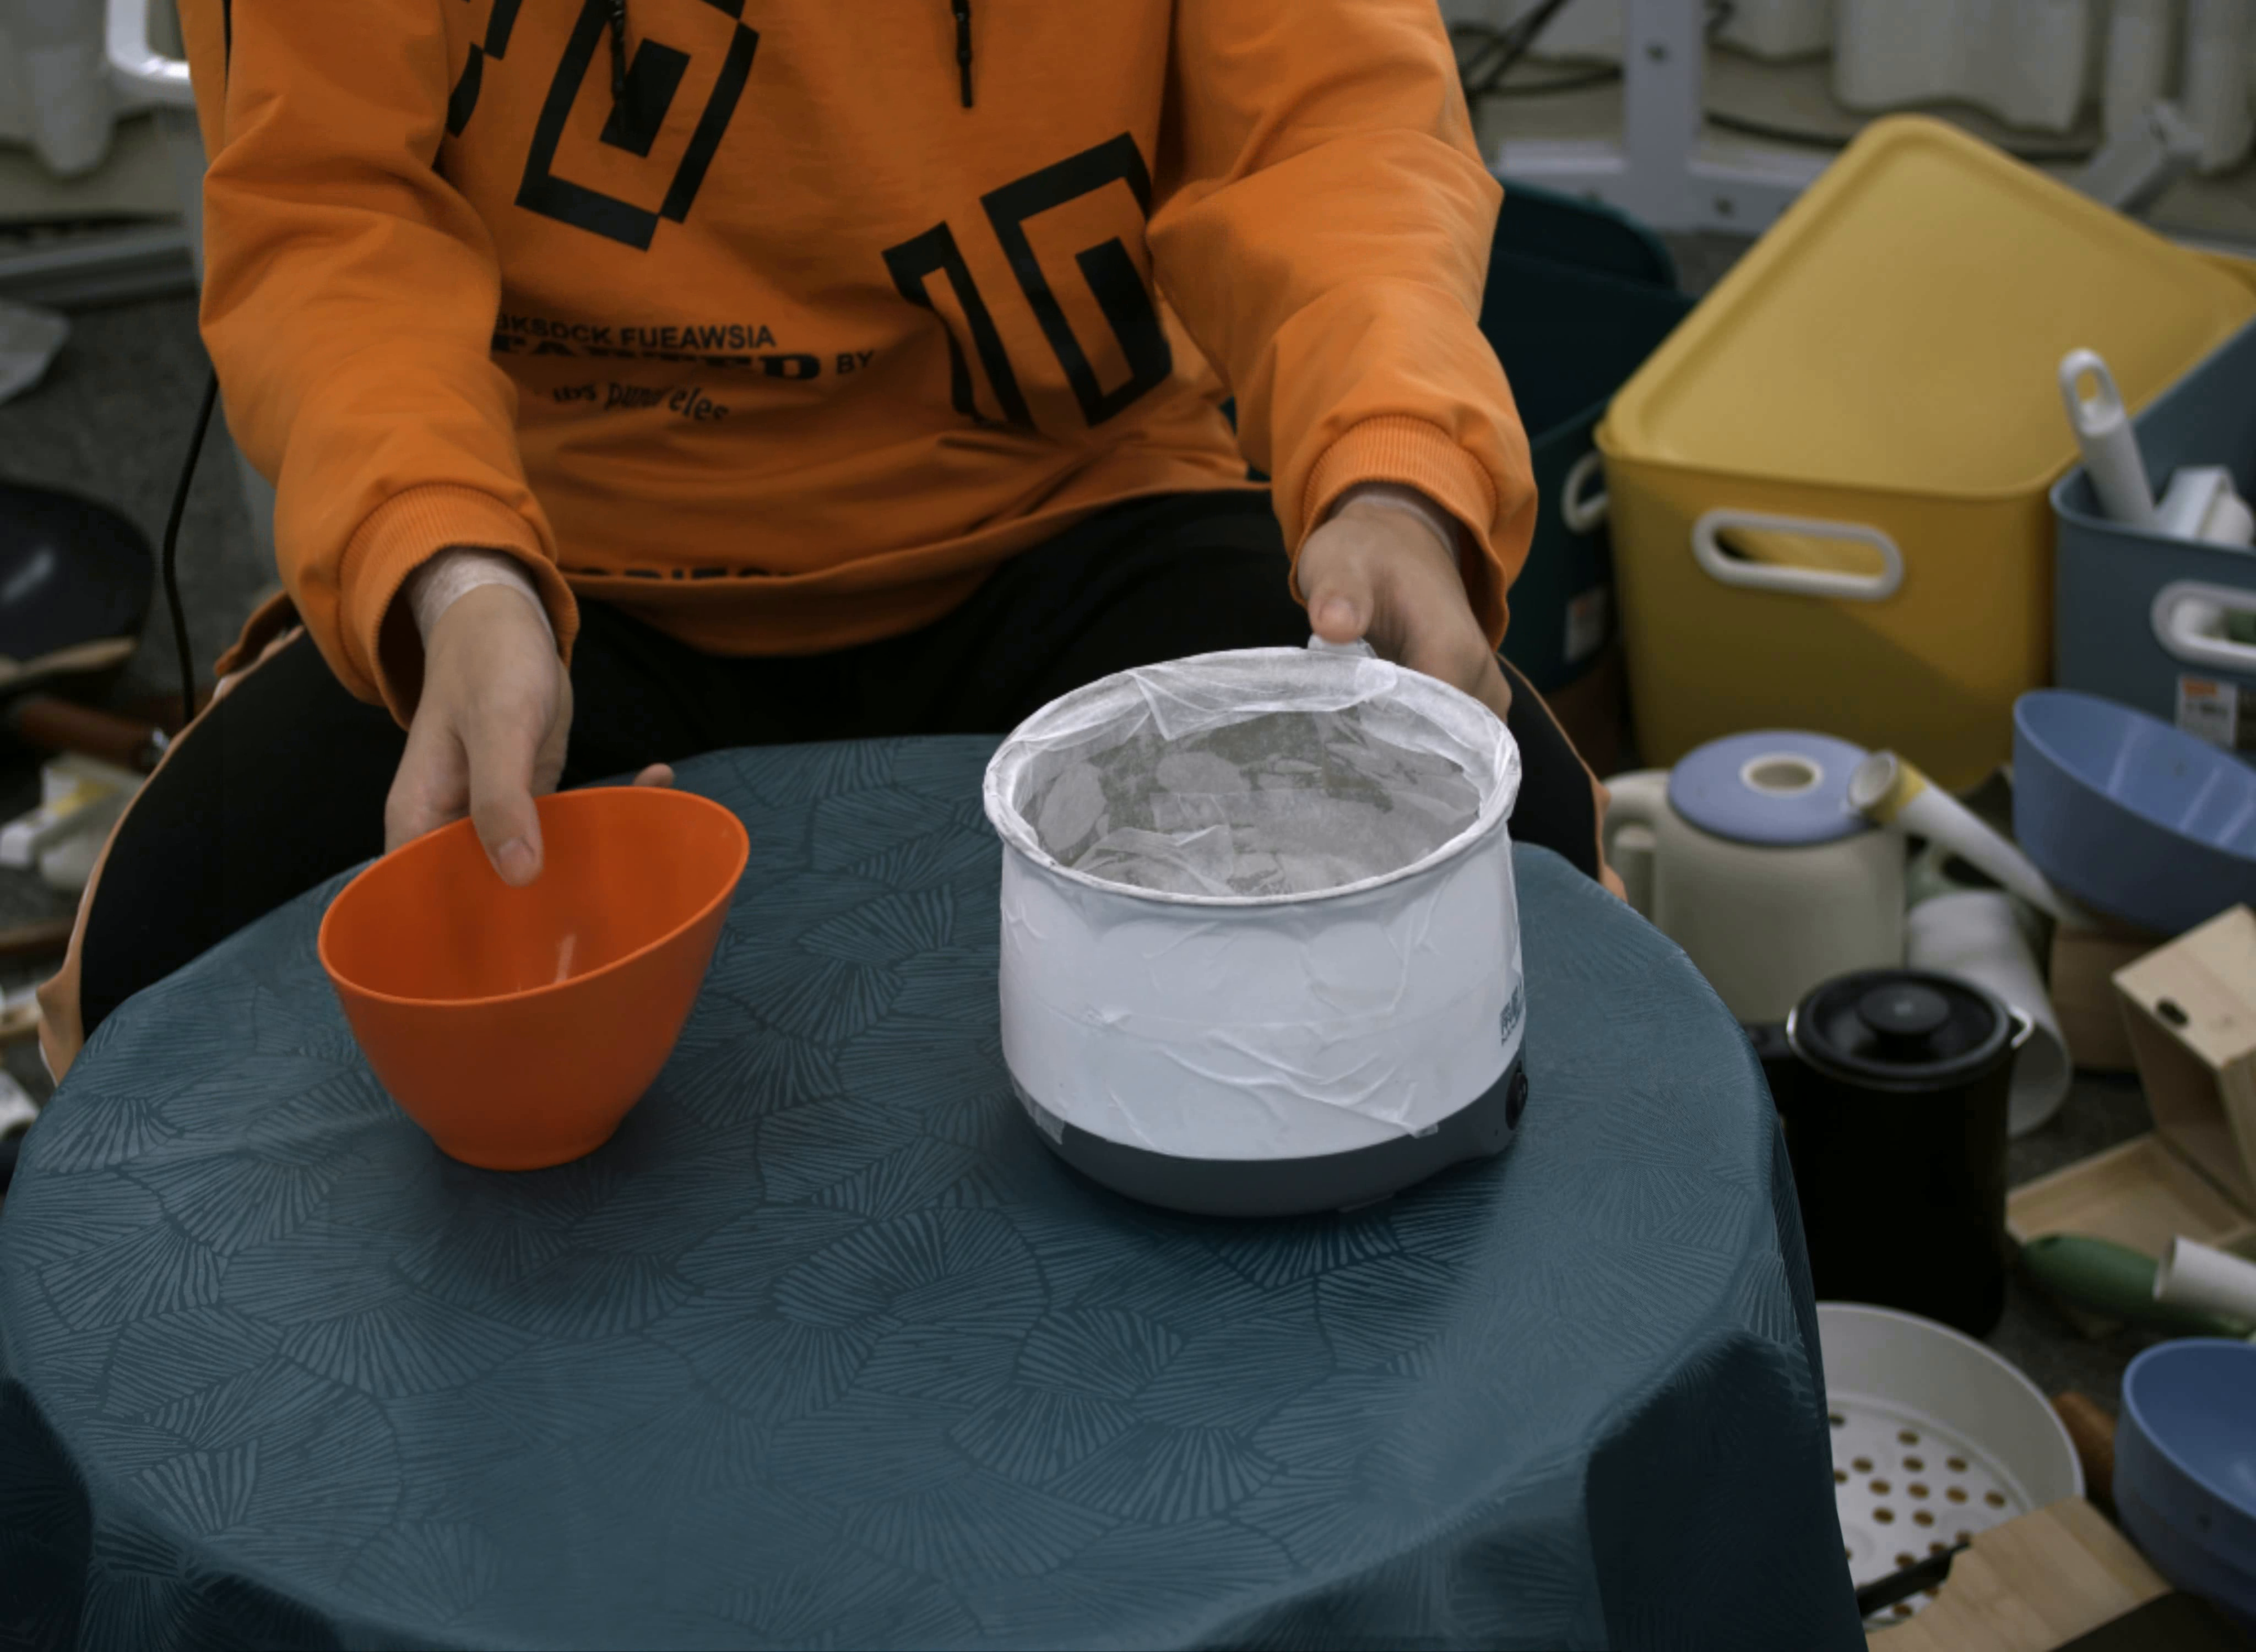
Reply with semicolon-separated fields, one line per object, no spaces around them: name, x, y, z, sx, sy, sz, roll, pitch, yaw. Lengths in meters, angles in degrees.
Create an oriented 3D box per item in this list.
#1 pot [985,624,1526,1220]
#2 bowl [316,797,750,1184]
pot;0.052;0.025;1.896;0.177;0.135;0.238;5;29;15
bowl;-0.197;0.061;1.894;0.147;0.103;0.150;-2;28;2
